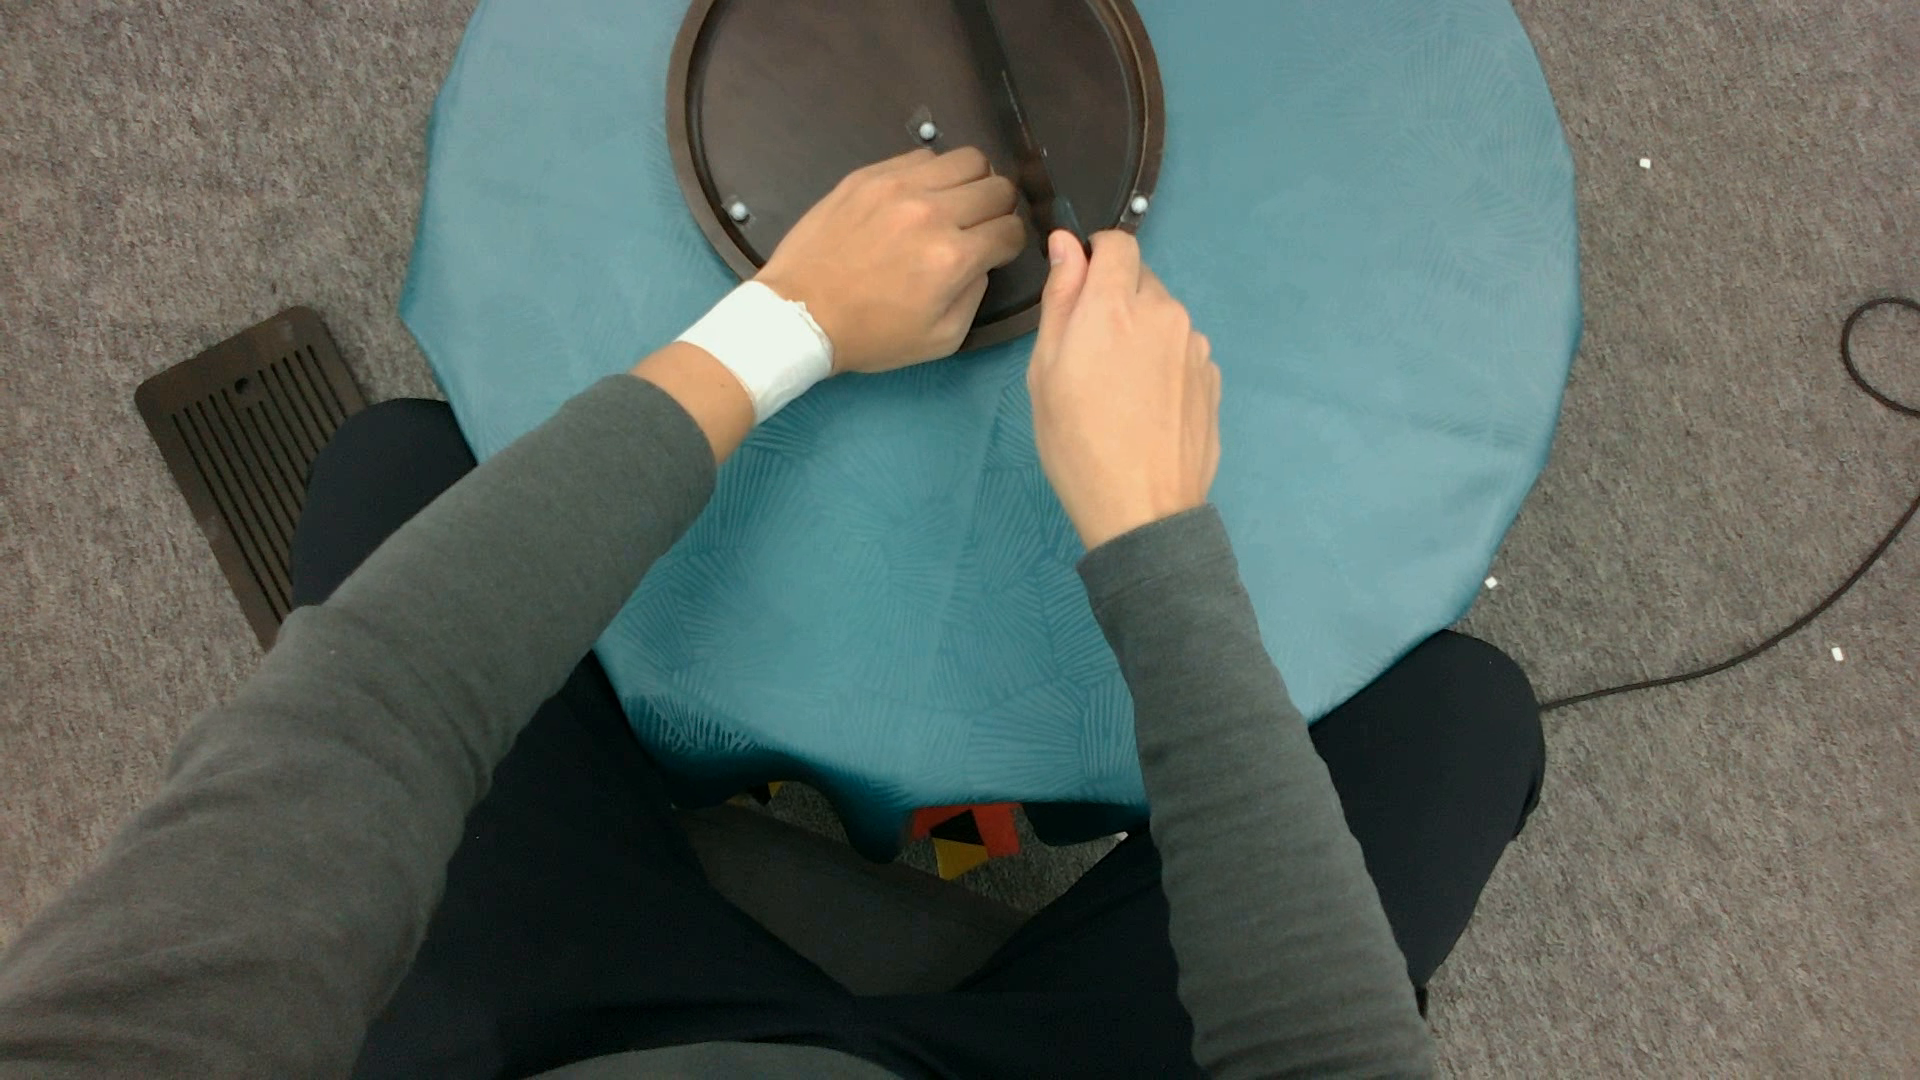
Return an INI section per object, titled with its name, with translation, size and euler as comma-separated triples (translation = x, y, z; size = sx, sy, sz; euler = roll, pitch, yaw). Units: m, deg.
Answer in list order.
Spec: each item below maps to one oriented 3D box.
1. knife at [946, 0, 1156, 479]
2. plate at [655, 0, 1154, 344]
[knife]
translation = 0.027, -0.171, 0.624
size = 0.021, 0.081, 0.302
euler = -20, 84, -6
[plate]
translation = -0.027, -0.222, 0.705
size = 0.255, 0.029, 0.255
euler = 1, 82, -6
